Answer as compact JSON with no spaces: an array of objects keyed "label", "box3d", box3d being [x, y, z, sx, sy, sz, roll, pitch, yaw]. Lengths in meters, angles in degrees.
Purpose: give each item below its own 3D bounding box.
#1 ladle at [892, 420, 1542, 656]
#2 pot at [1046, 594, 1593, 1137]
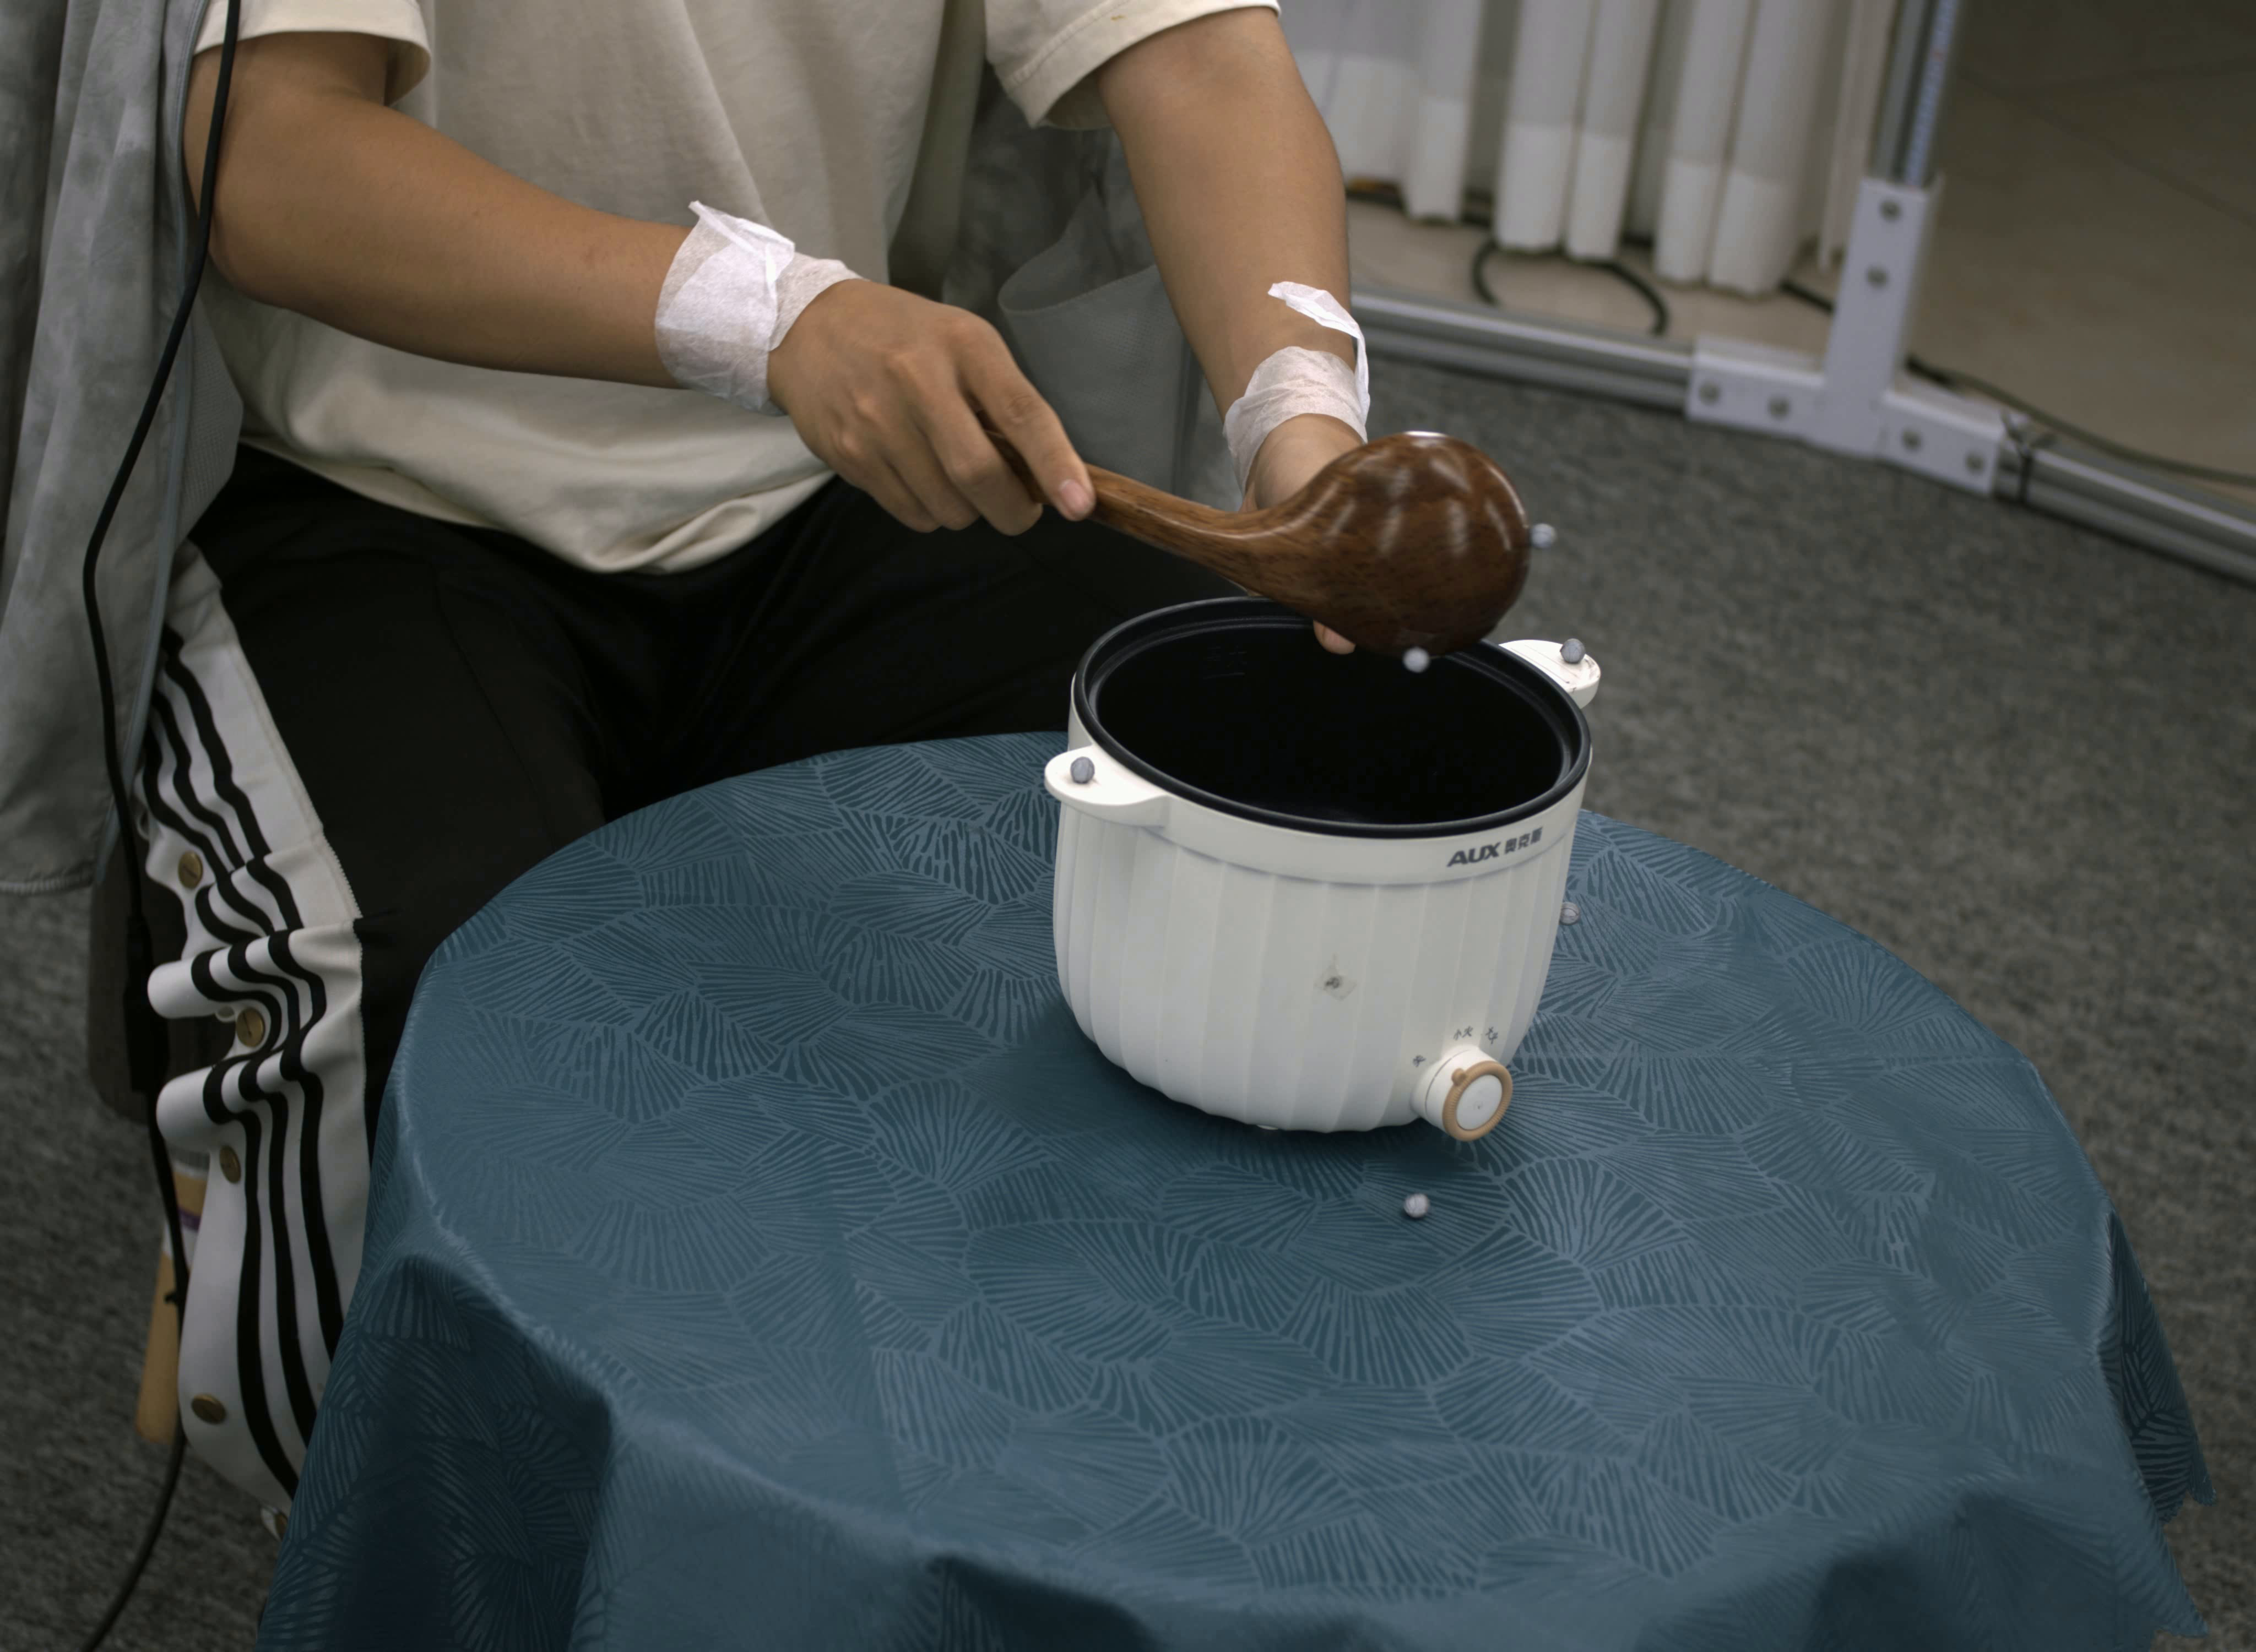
[{"label":"ladle","box3d":[0.030,-0.119,1.865,0.076,0.081,0.276,-22,26,-35]},{"label":"pot","box3d":[0.068,0.020,1.872,0.239,0.142,0.192,-16,31,-35]}]
